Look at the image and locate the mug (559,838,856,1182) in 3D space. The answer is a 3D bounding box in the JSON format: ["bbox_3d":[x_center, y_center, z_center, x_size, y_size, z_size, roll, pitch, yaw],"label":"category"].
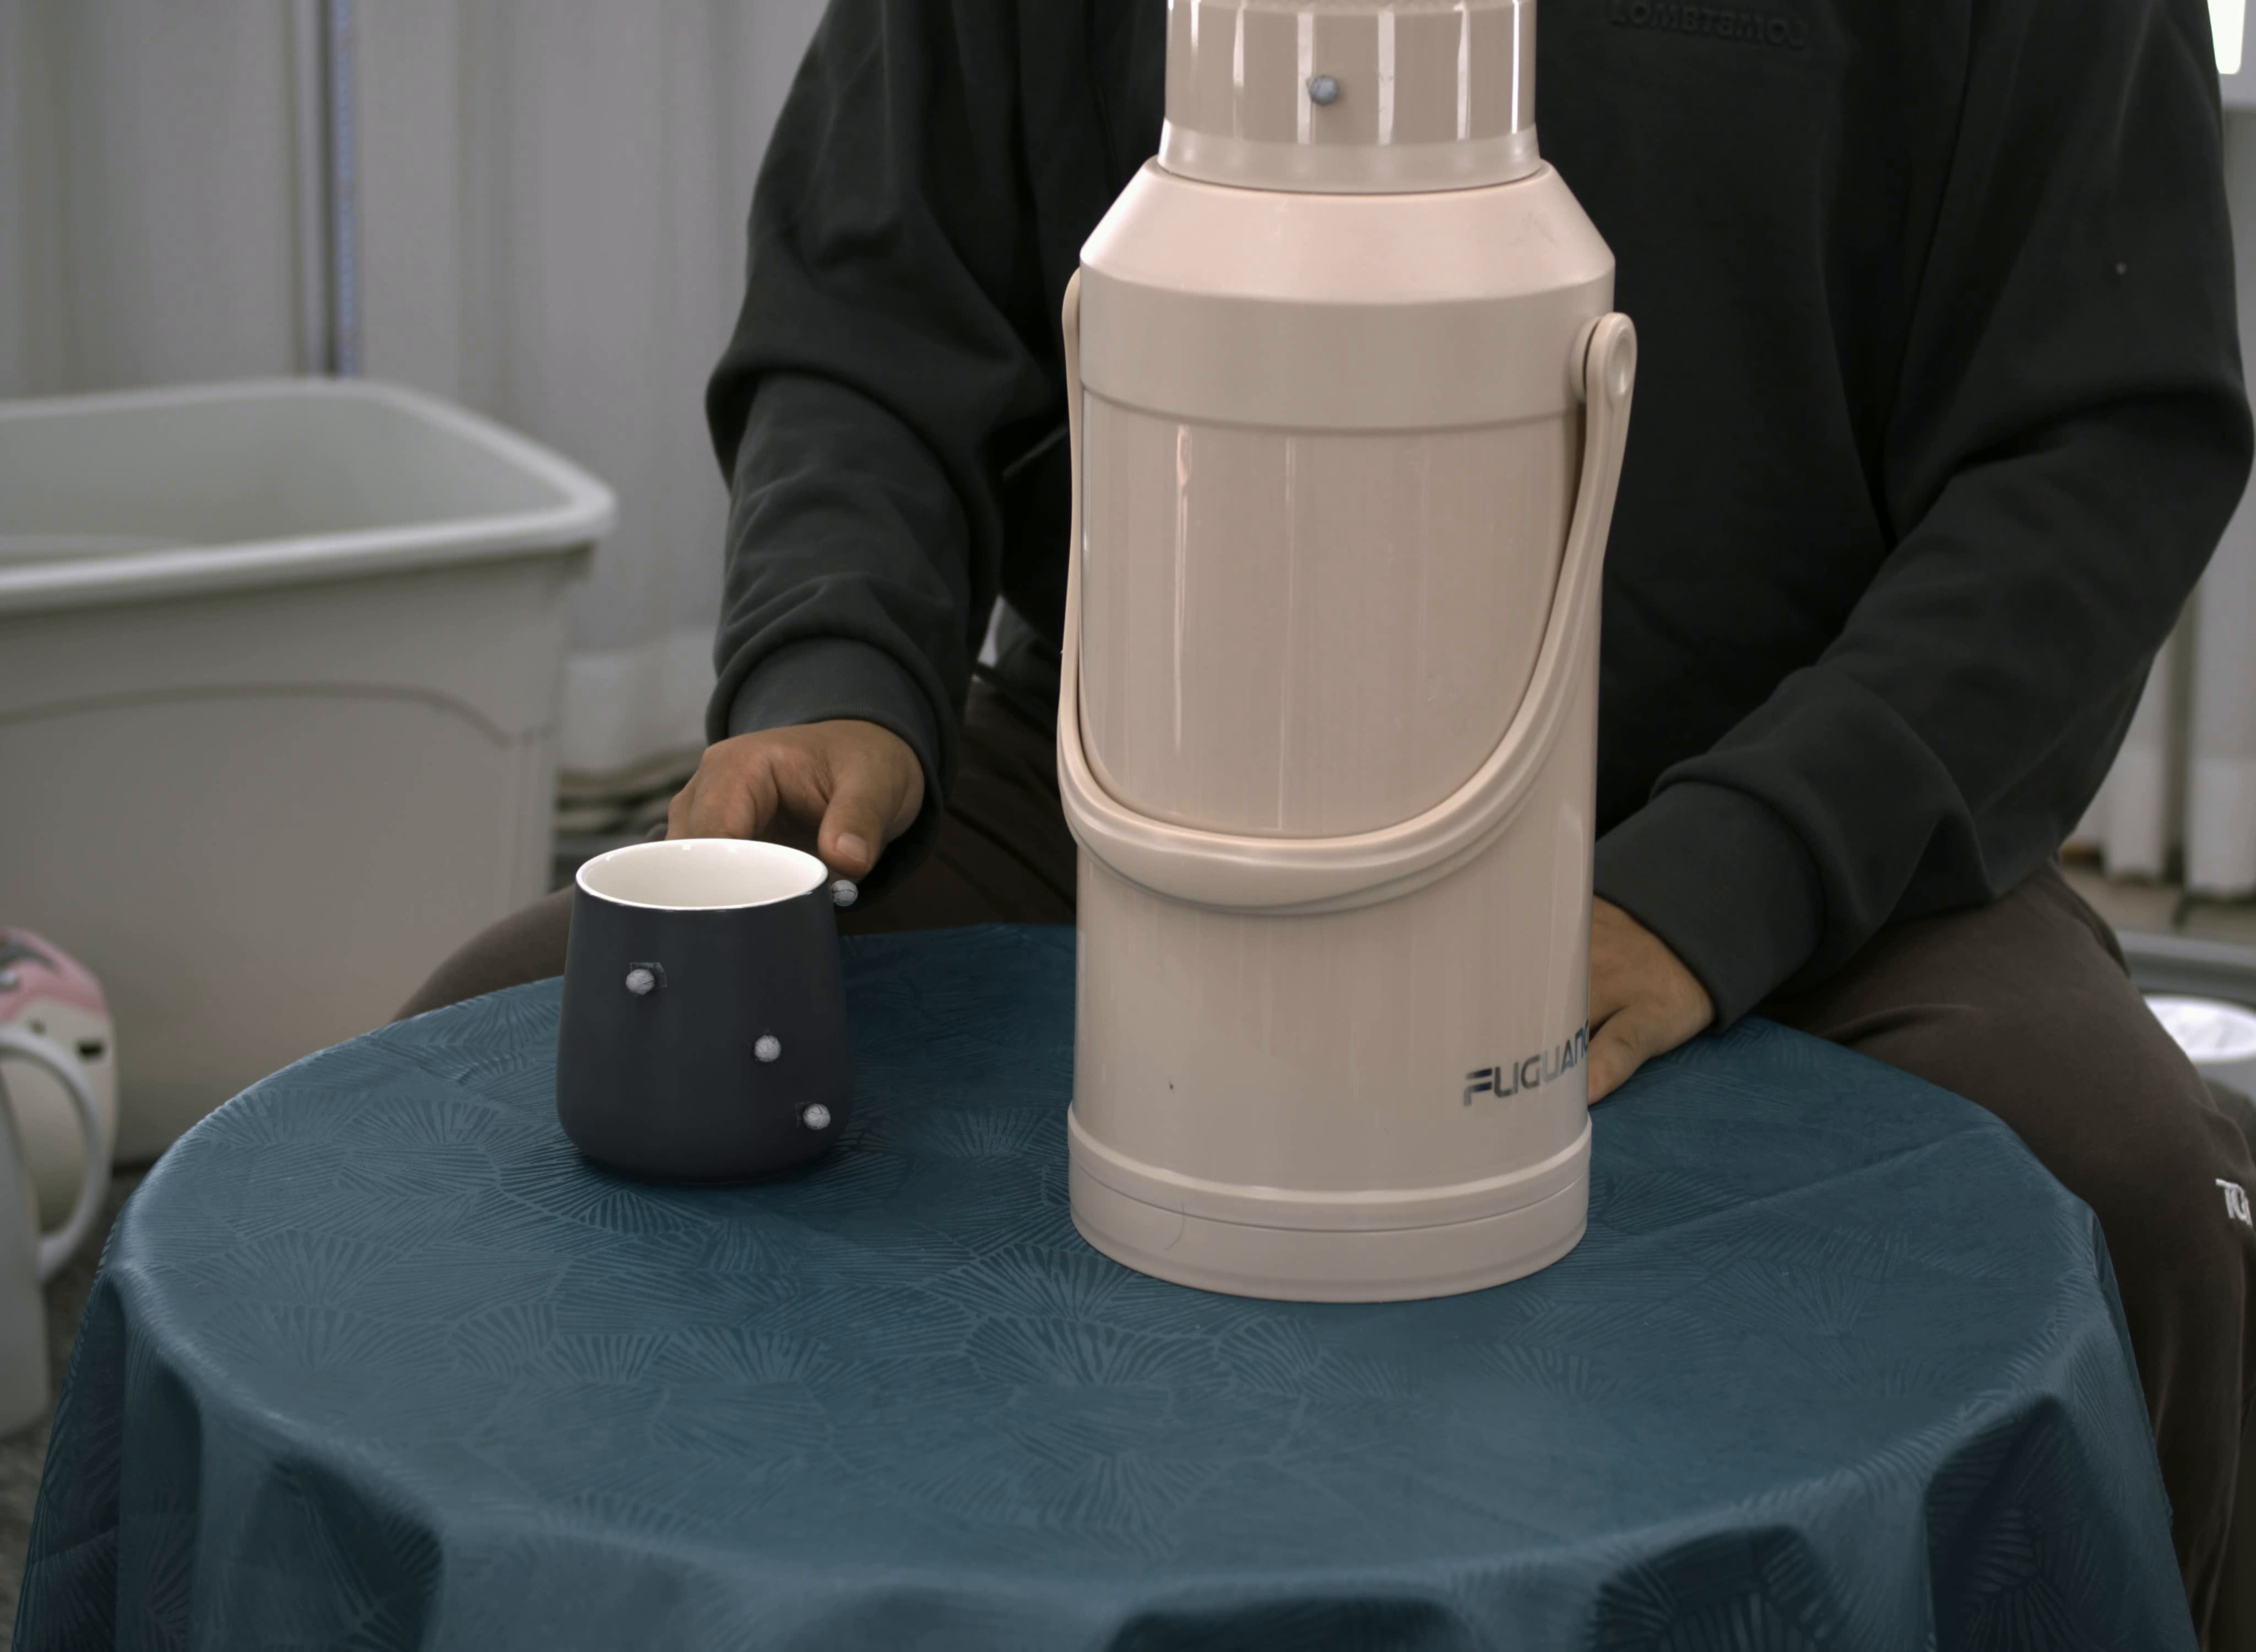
[{"bbox_3d":[-0.127,0.054,1.661,0.092,0.090,0.123,6,17,19],"label":"mug"}]

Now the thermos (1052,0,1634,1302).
[{"bbox_3d":[0.069,-0.076,1.566,0.173,0.410,0.207,8,18,25],"label":"thermos"}]
